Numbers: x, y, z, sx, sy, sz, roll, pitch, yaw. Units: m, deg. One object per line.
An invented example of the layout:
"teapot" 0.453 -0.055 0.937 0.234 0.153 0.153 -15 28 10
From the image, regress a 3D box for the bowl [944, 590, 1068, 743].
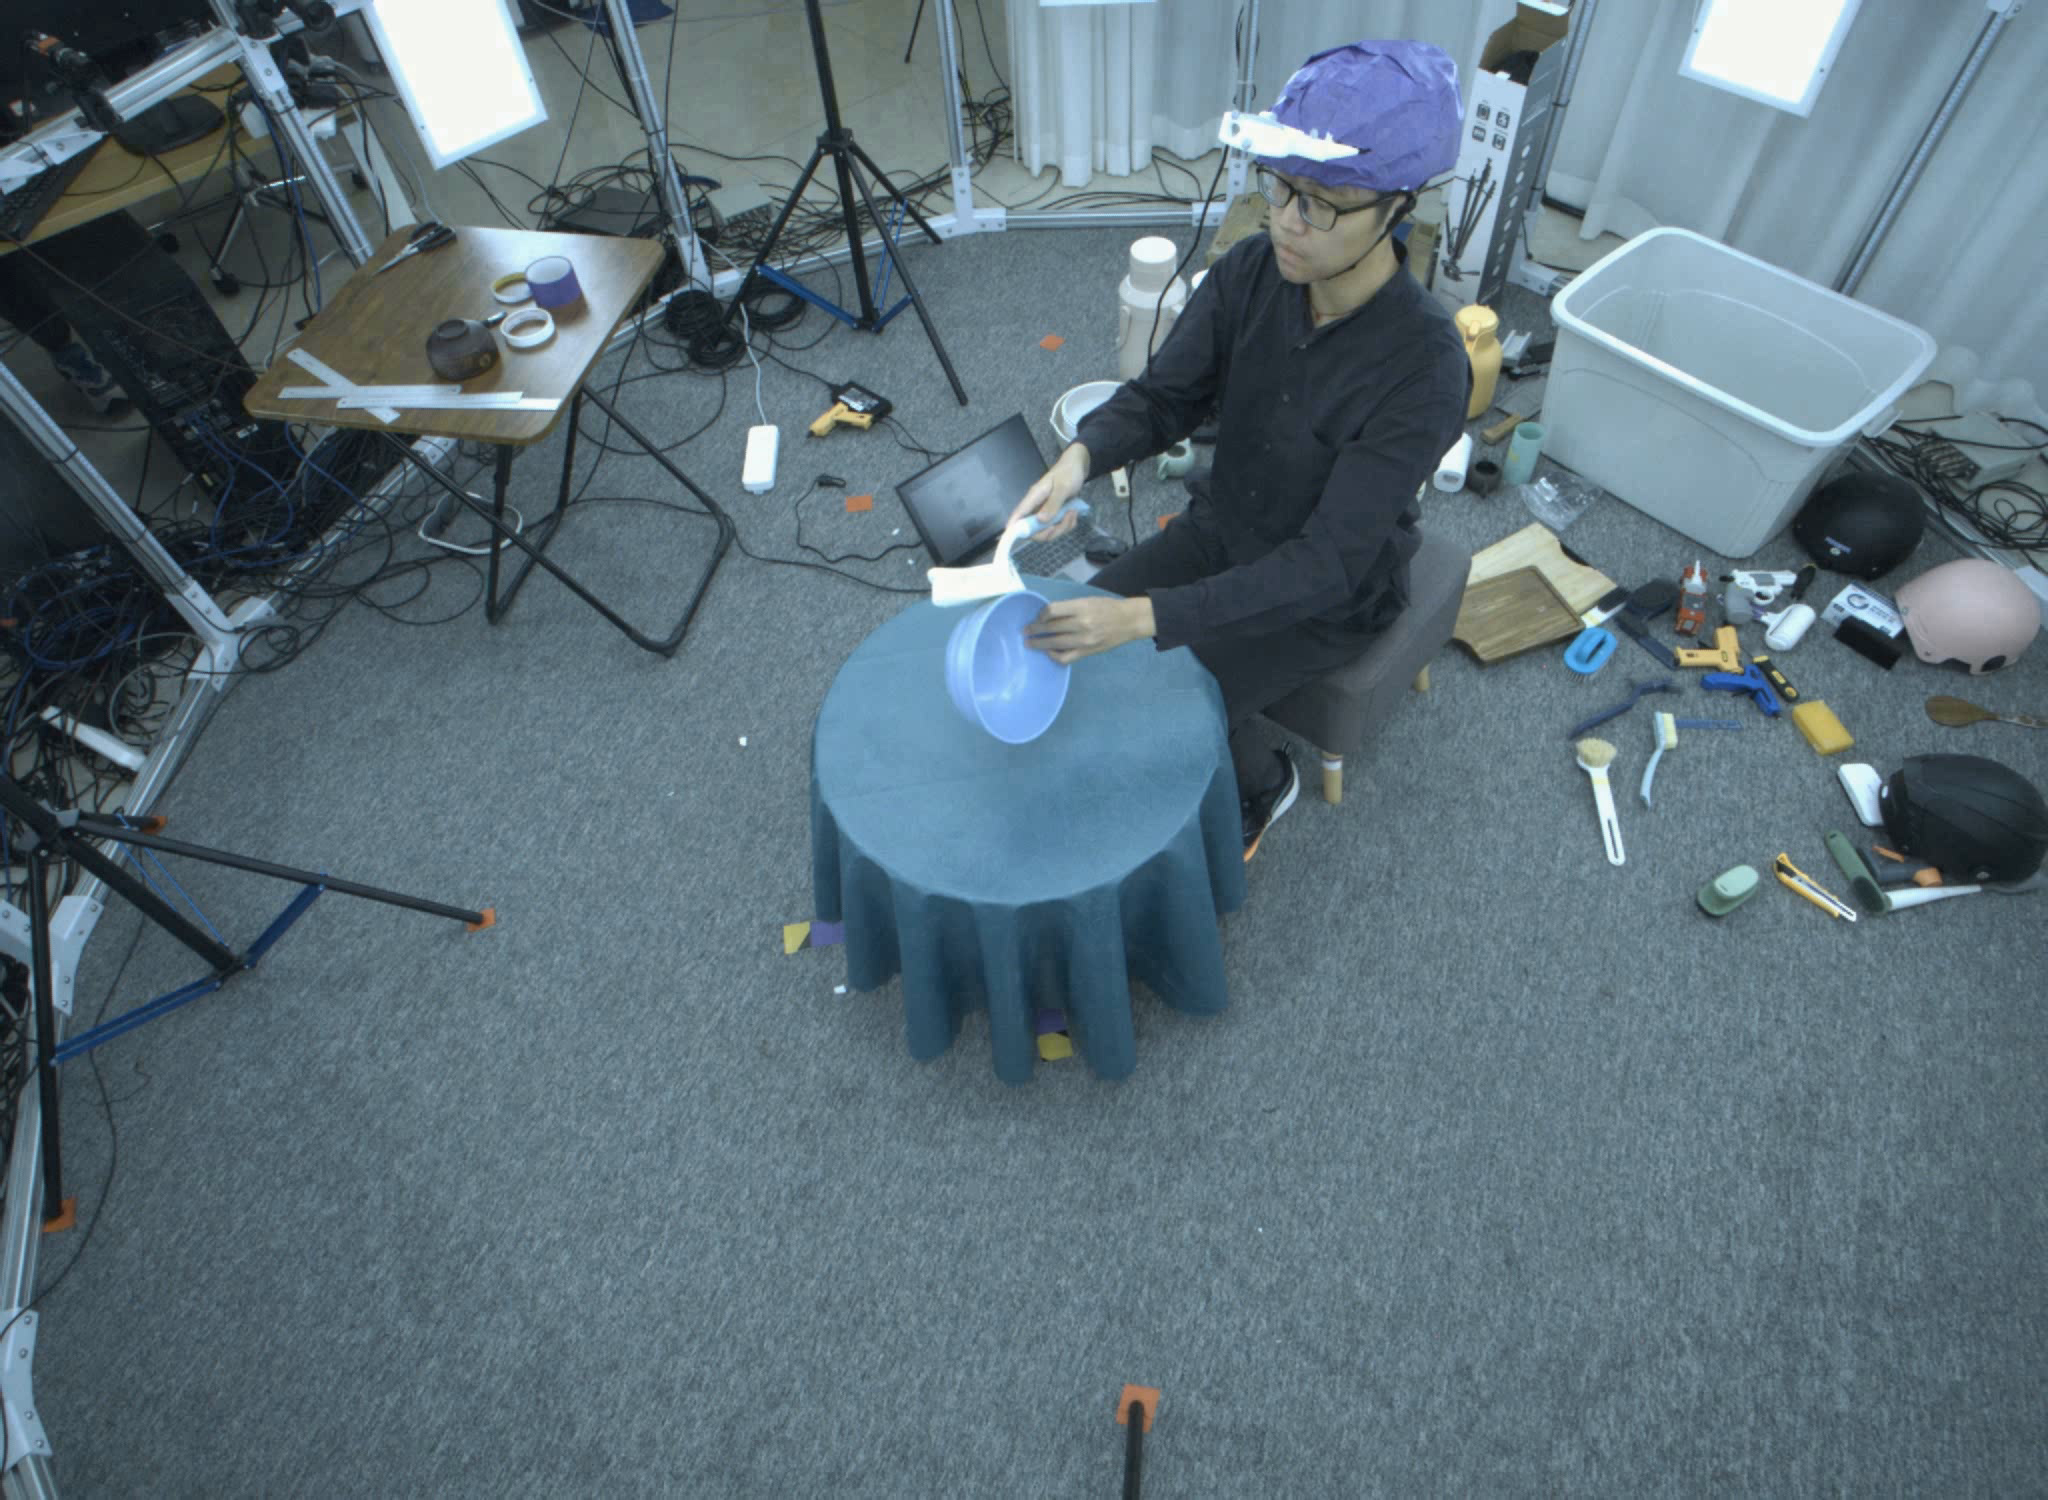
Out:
"bowl" -0.038 -0.111 1.602 0.093 0.200 0.197 8 52 38

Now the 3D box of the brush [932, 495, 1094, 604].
"brush" 0.006 -0.250 1.609 0.081 0.085 0.329 29 40 27
